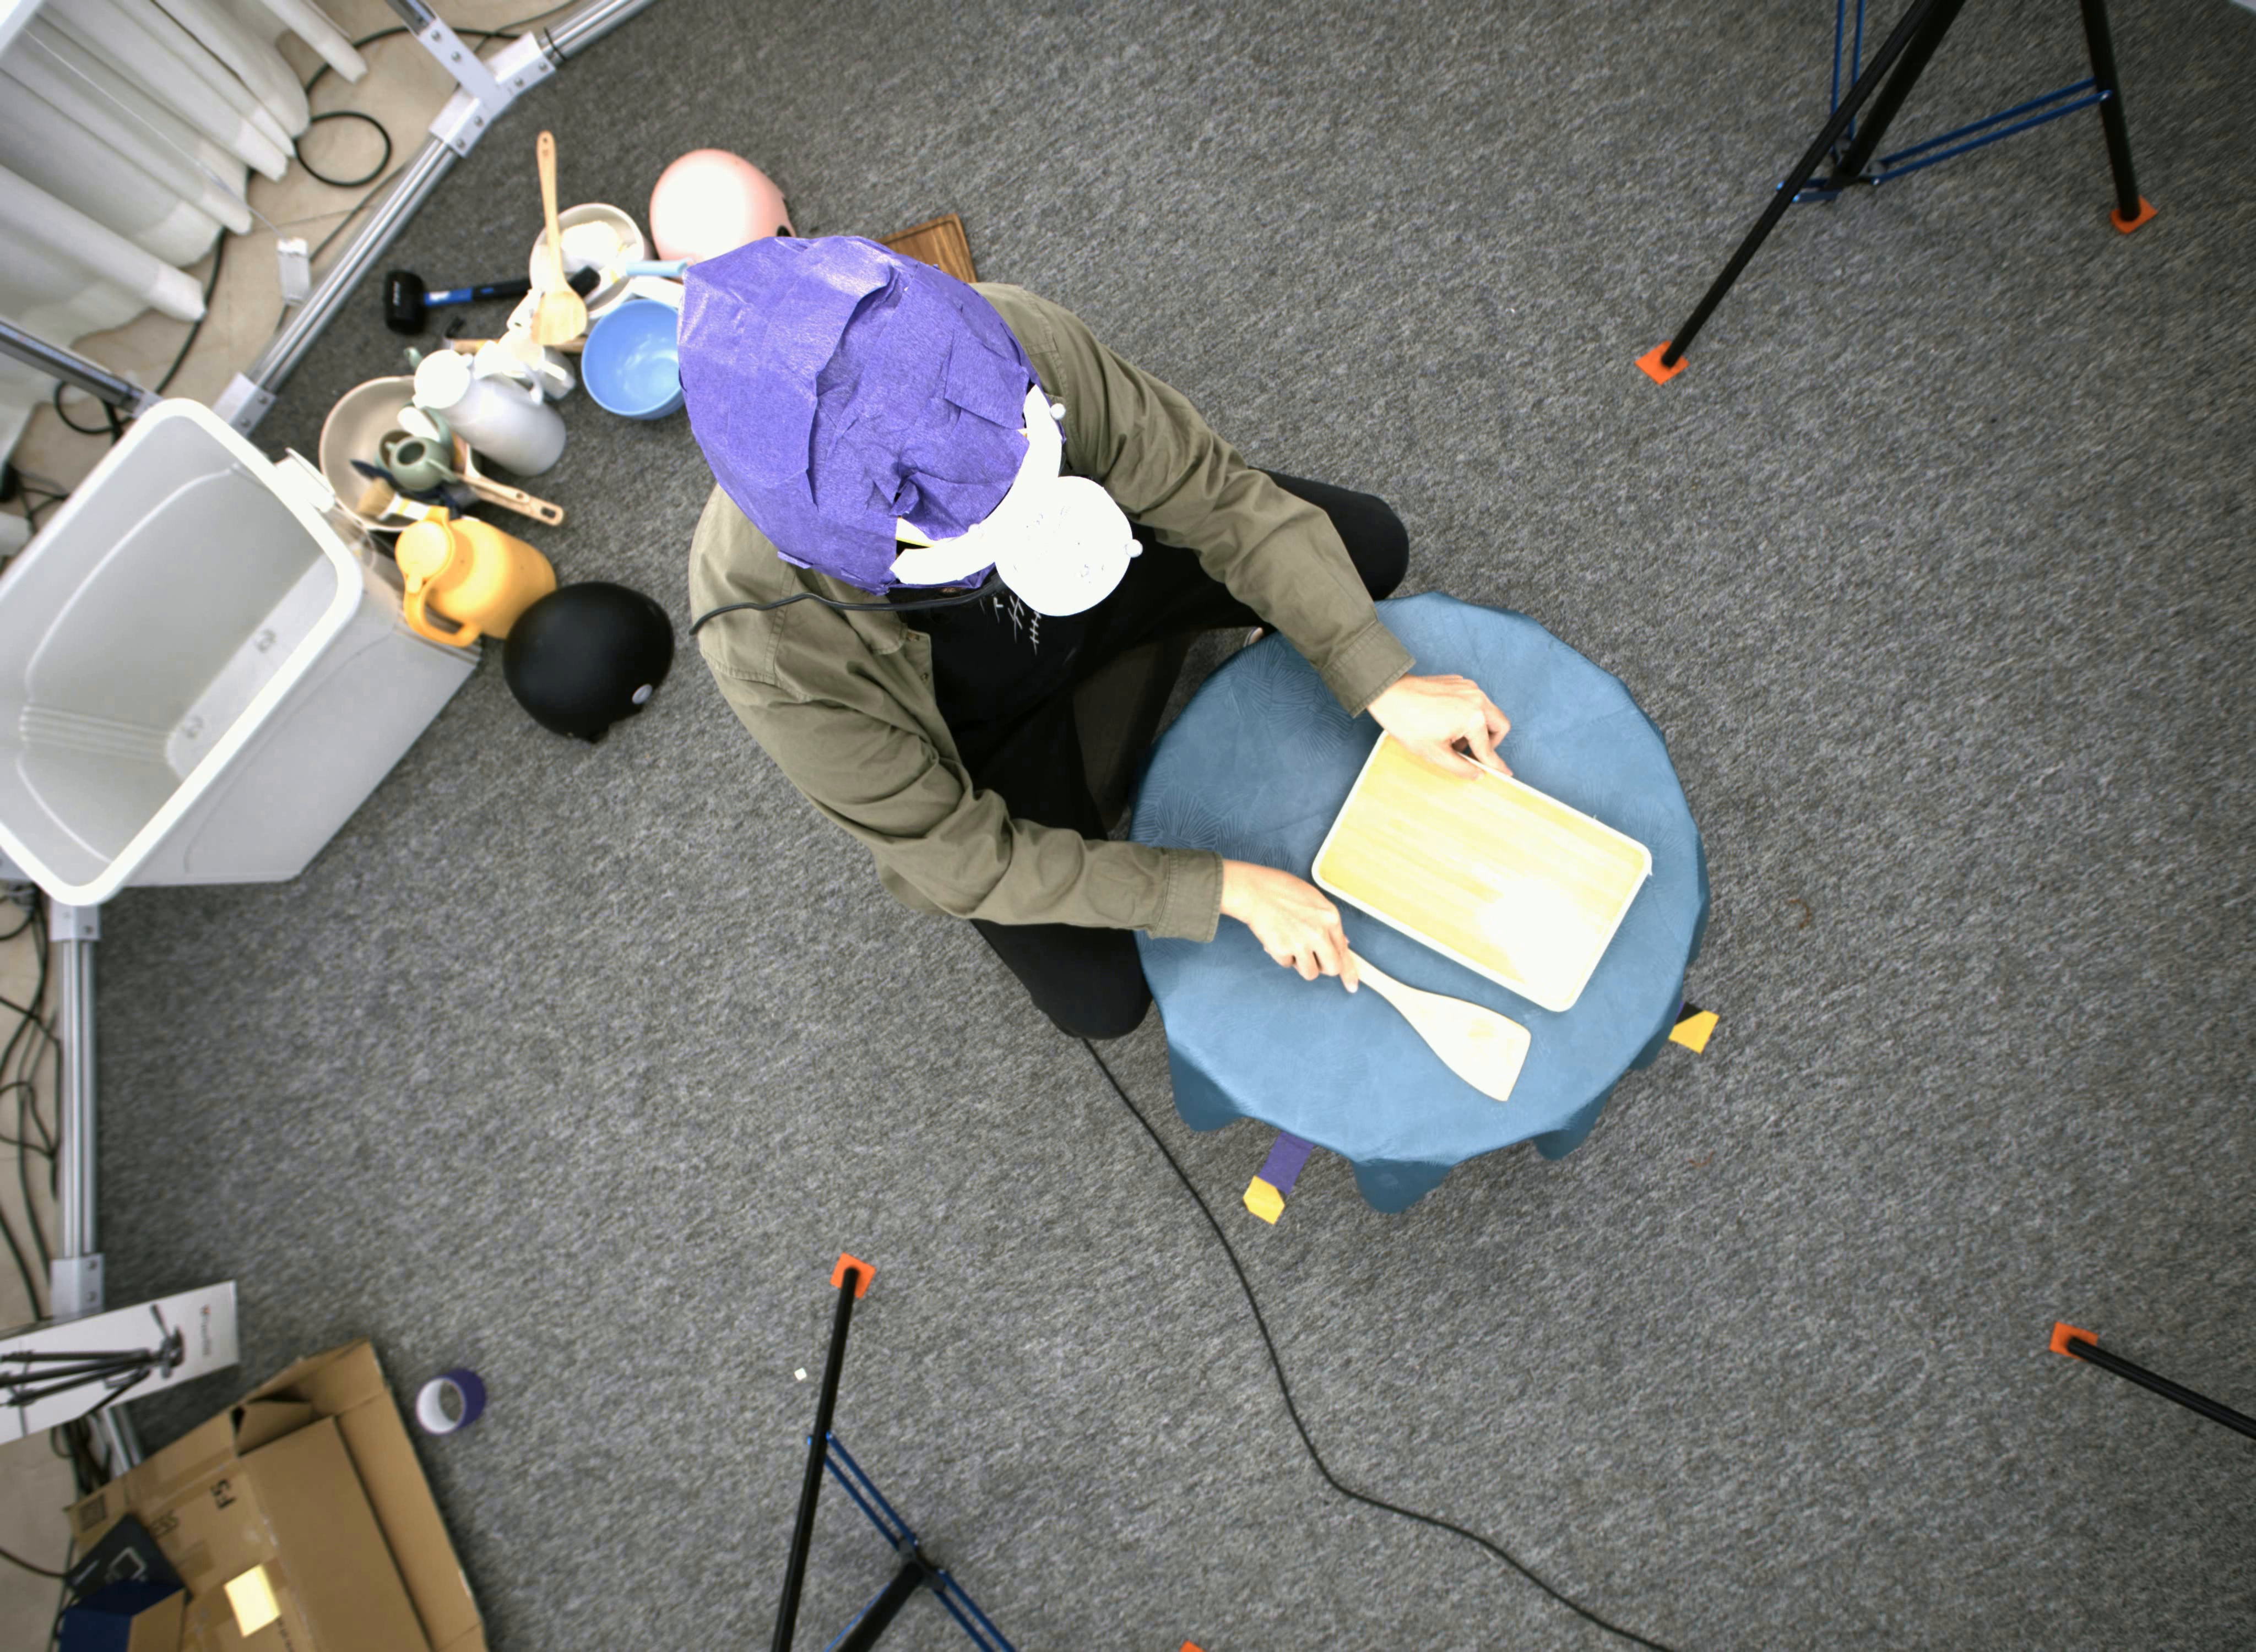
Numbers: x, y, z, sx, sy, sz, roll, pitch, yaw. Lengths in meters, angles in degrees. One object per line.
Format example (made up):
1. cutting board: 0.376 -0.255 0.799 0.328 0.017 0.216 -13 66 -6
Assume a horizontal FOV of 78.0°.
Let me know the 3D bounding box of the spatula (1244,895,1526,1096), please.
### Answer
1. spatula: 0.263 0.161 1.427 0.327 0.016 0.080 31 93 2

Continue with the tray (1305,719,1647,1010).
1. tray: 0.351 0.036 1.407 0.300 0.027 0.193 29 101 11
